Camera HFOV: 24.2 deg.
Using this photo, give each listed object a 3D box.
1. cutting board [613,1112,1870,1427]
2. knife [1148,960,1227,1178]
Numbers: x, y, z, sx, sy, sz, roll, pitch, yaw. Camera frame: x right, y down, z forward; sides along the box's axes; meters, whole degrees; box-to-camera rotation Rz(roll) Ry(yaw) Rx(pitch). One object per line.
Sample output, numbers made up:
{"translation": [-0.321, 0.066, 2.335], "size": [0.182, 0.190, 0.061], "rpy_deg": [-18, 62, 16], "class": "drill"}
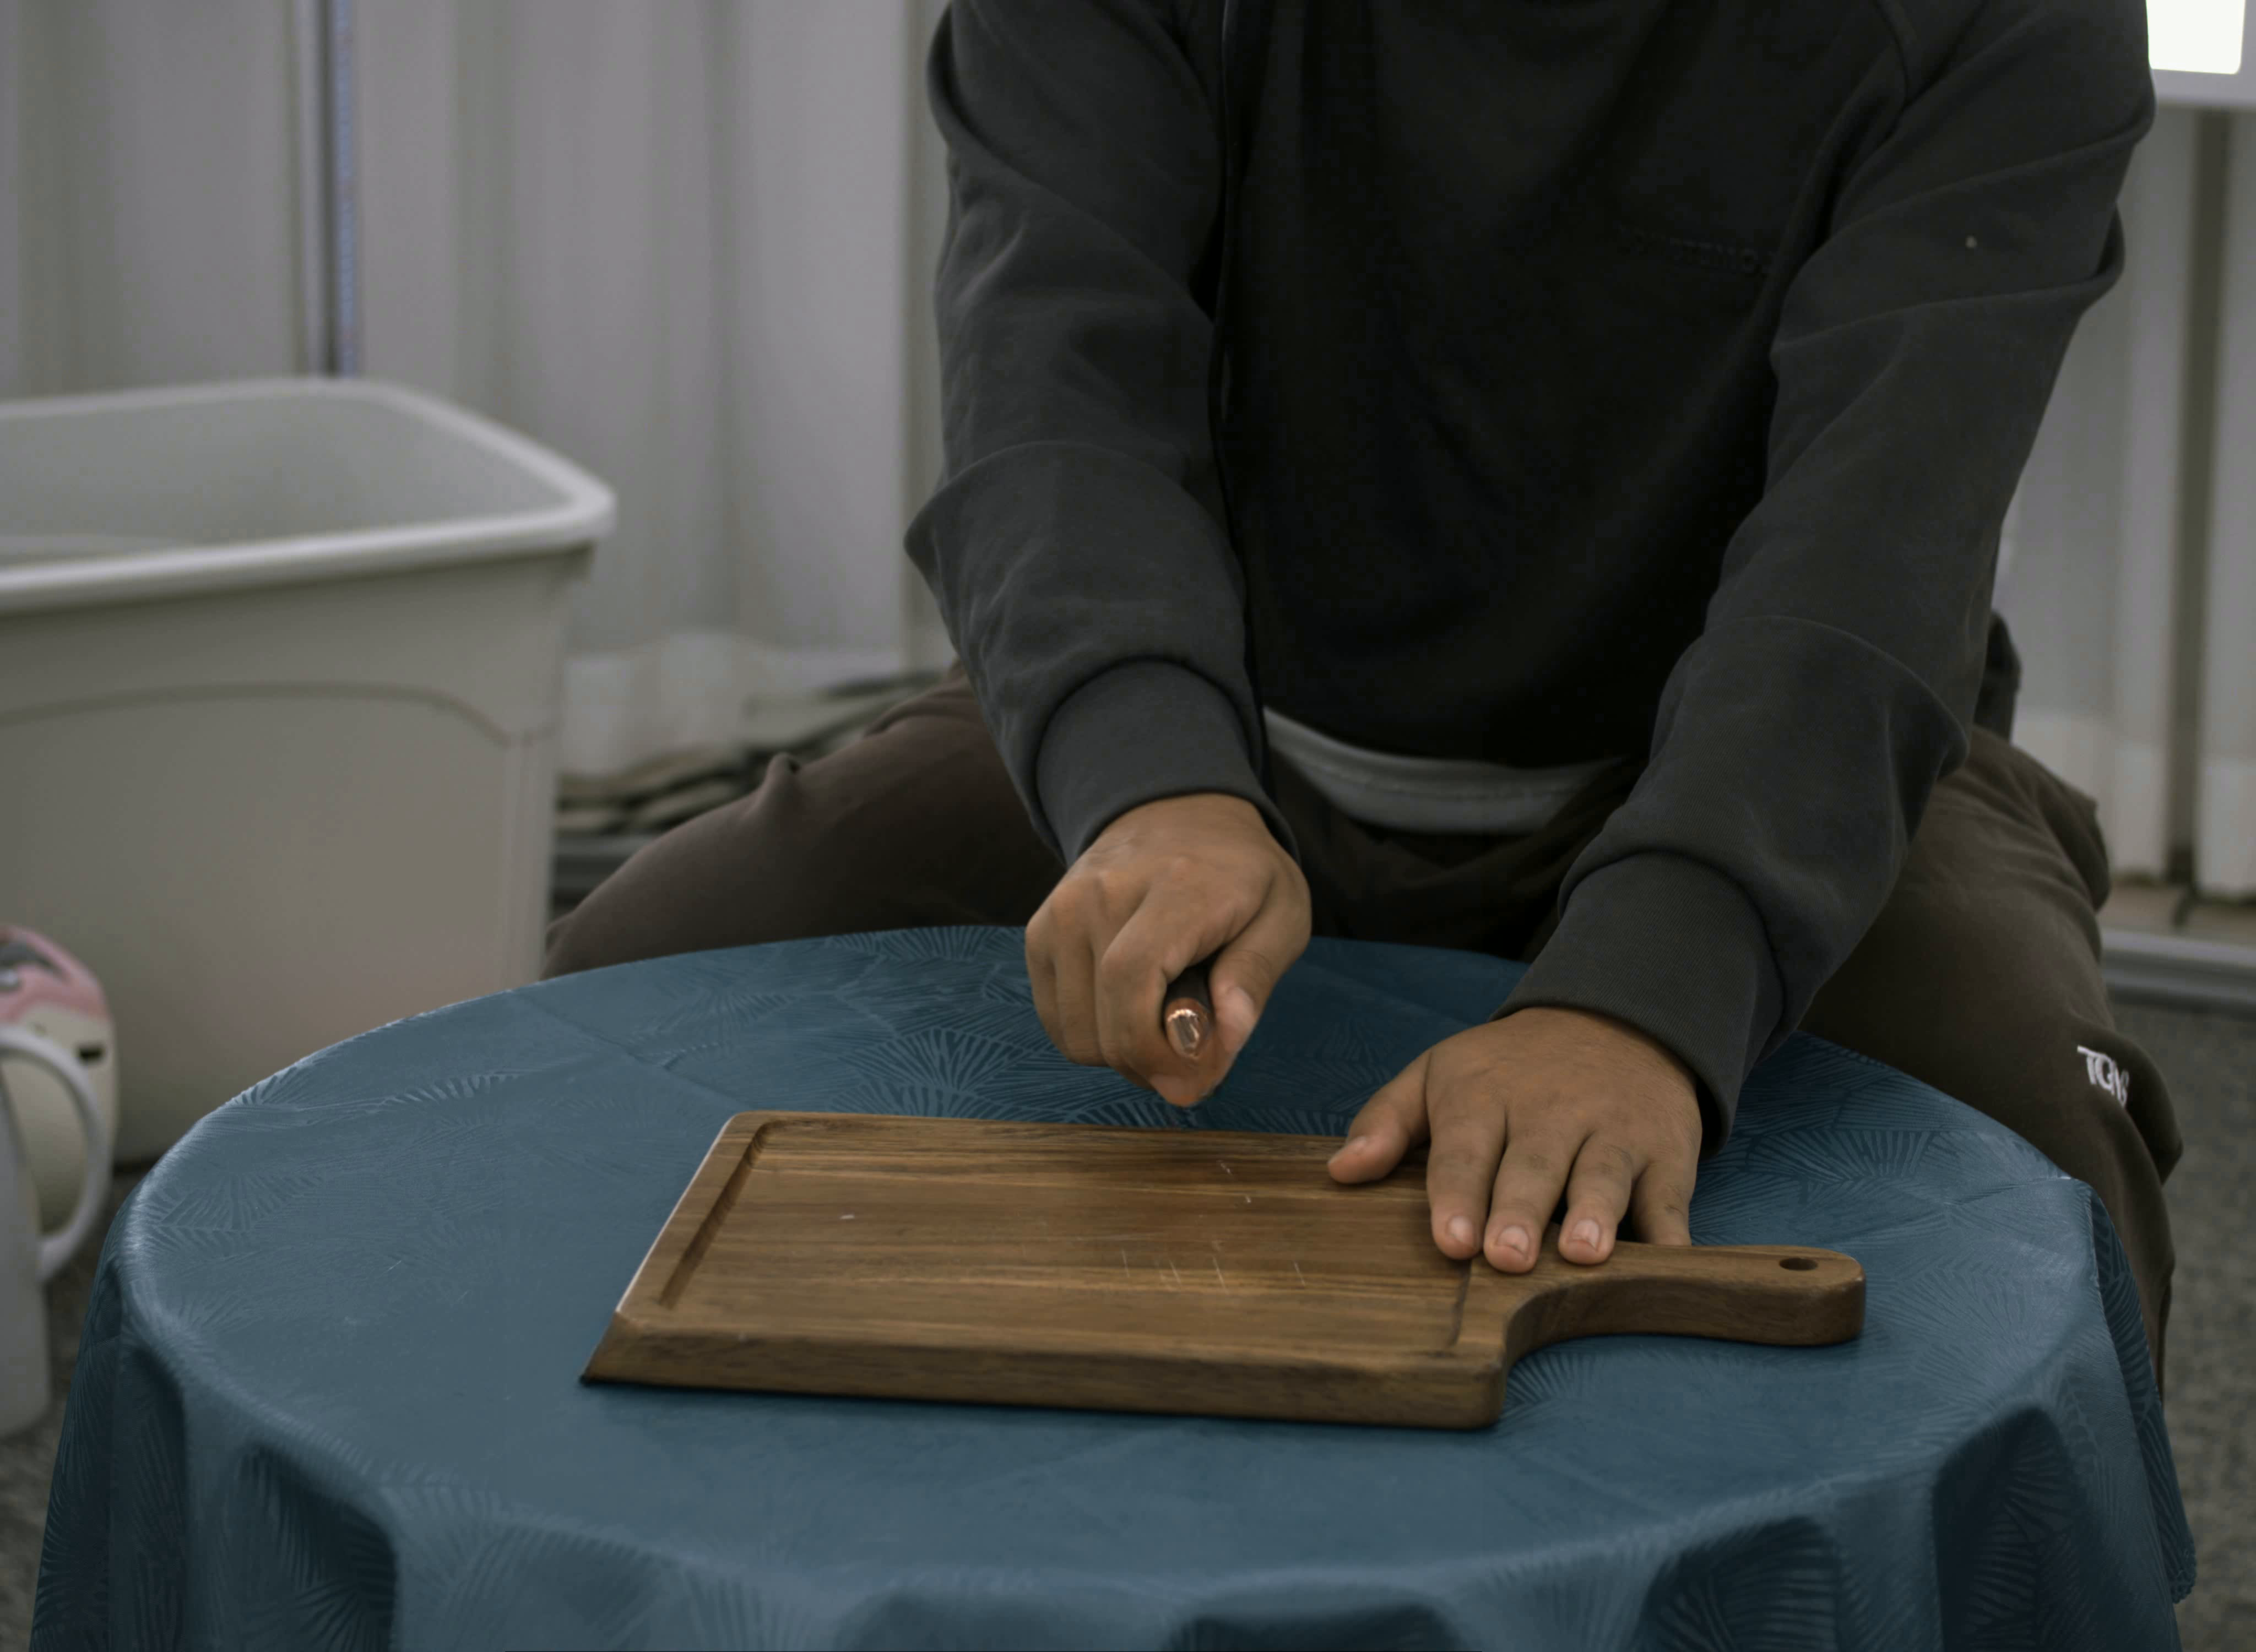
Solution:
{"translation": [0.039, 0.128, 1.532], "size": [0.350, 0.023, 0.200], "rpy_deg": [2, 15, 5], "class": "cutting board"}
{"translation": [0.019, 0.069, 1.559], "size": [0.017, 0.026, 0.224], "rpy_deg": [-14, 10, 0], "class": "knife"}
